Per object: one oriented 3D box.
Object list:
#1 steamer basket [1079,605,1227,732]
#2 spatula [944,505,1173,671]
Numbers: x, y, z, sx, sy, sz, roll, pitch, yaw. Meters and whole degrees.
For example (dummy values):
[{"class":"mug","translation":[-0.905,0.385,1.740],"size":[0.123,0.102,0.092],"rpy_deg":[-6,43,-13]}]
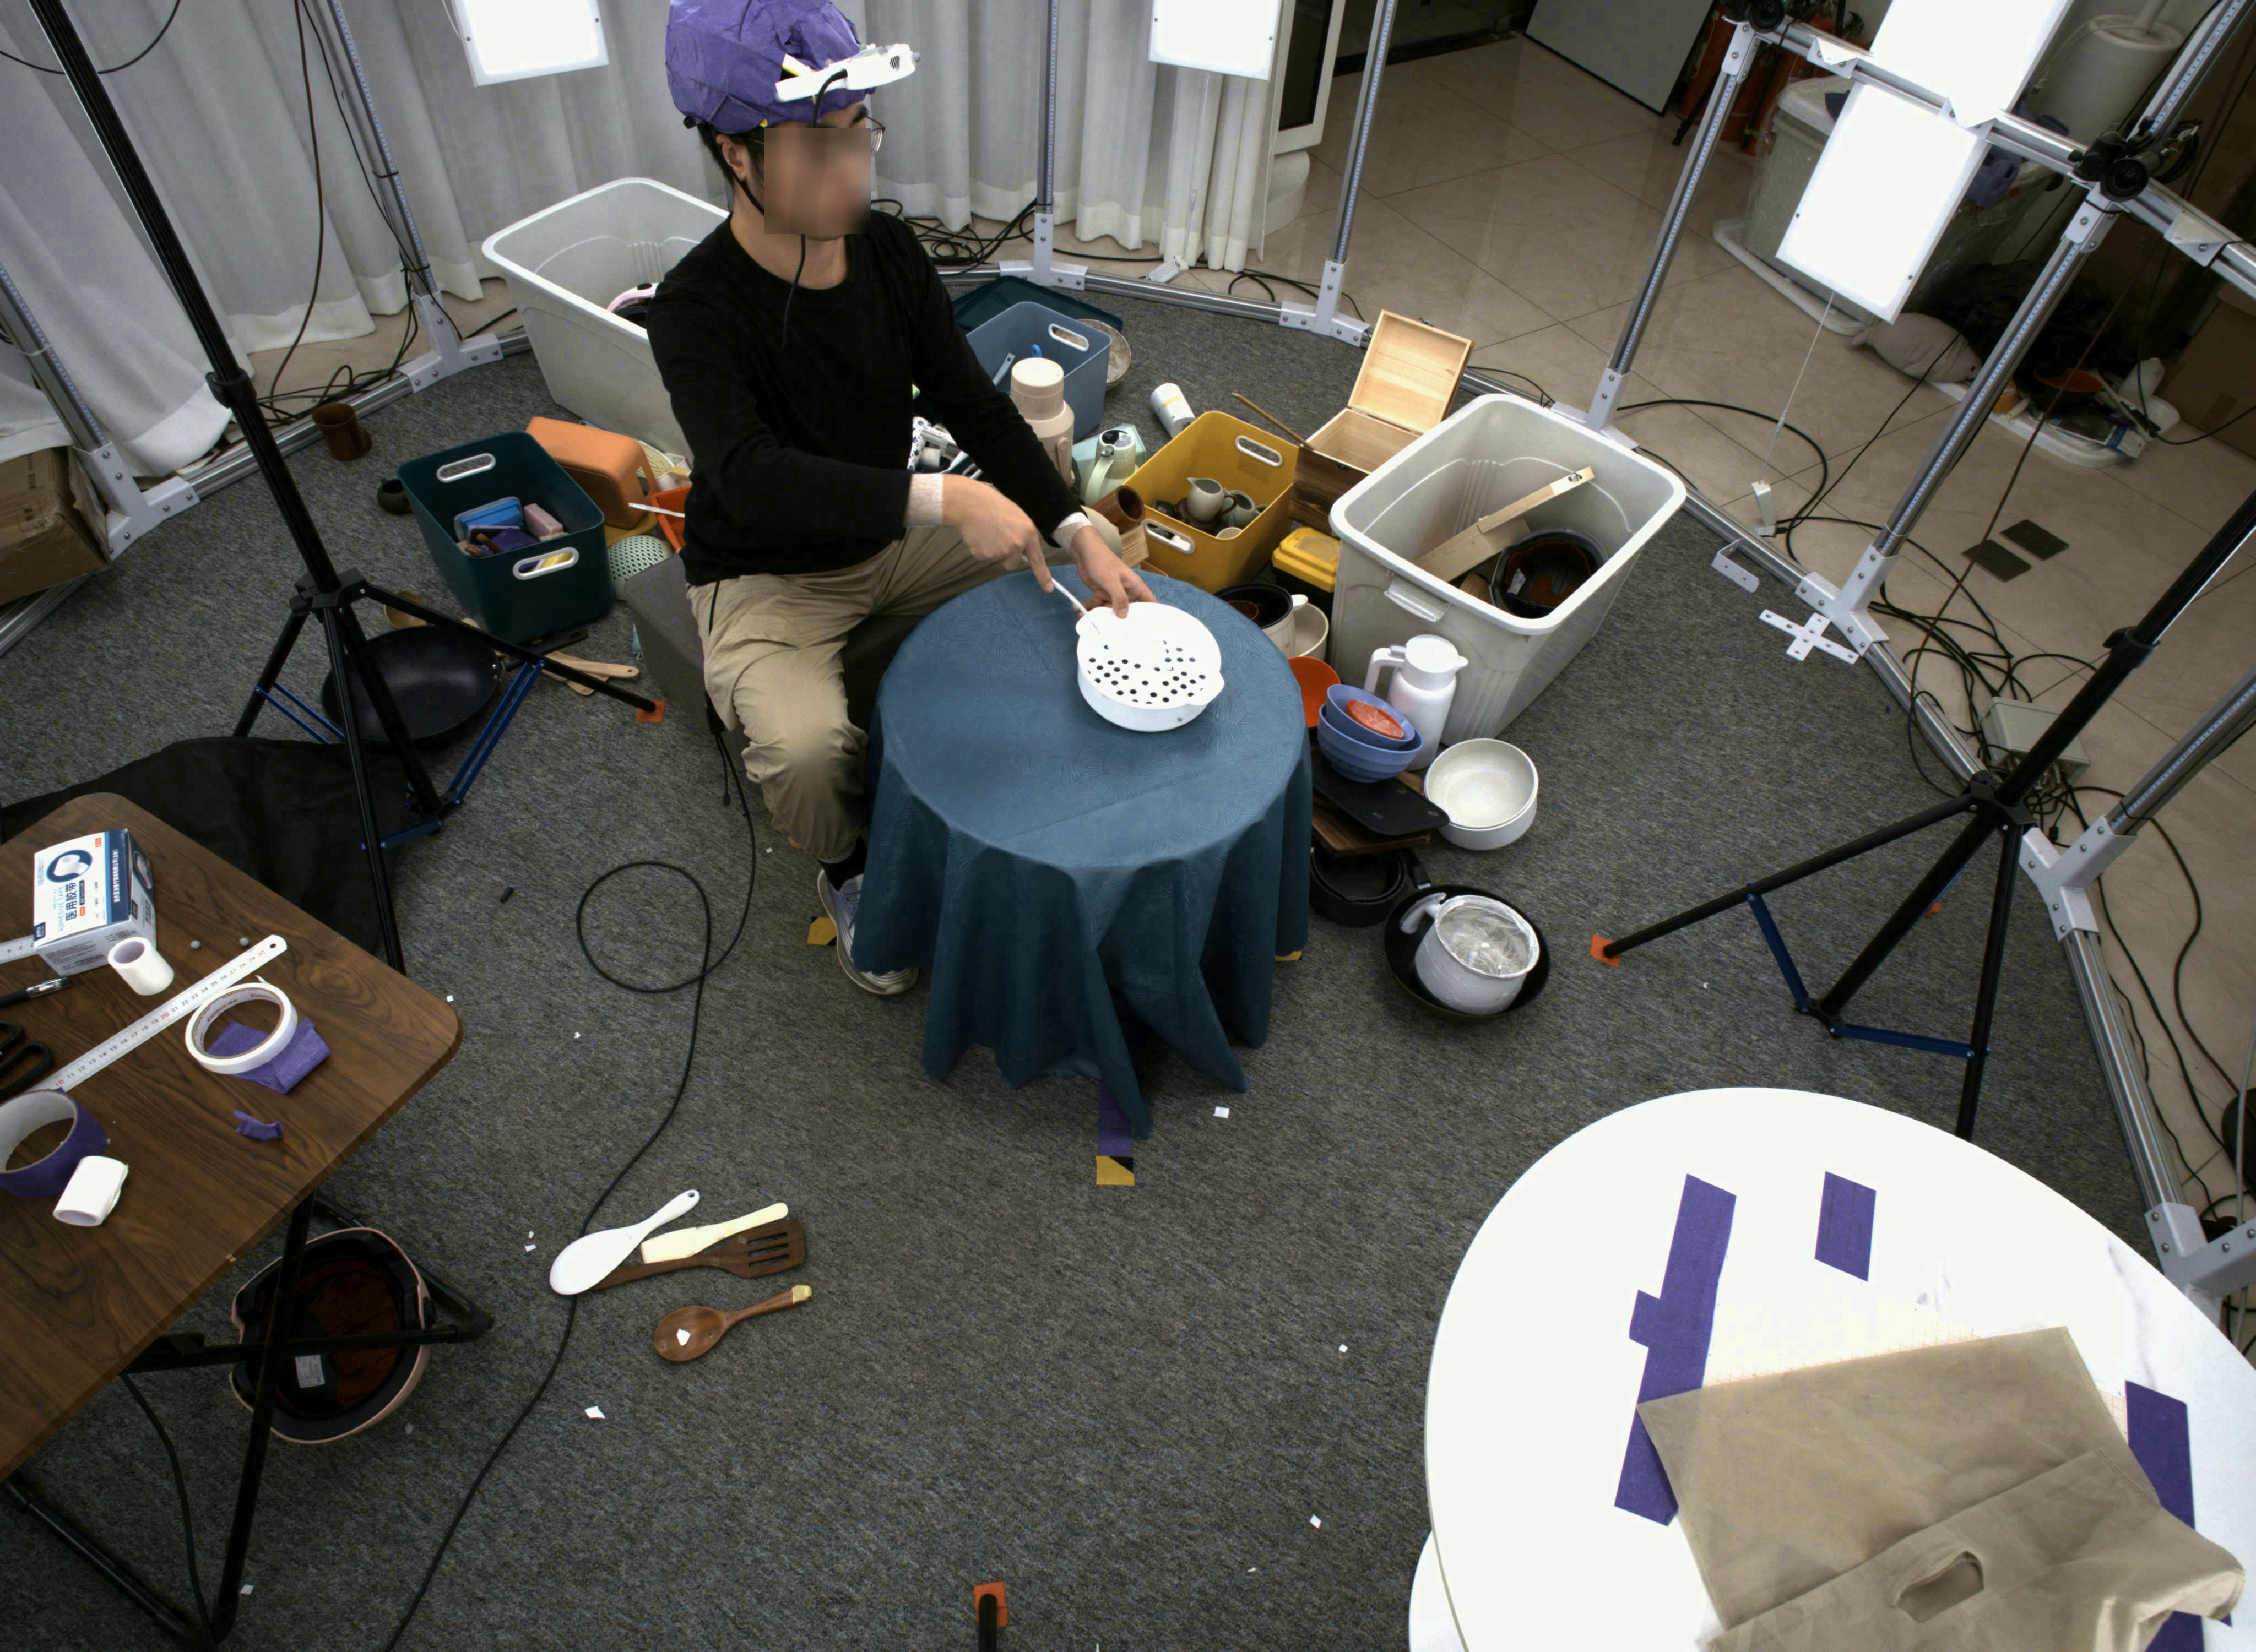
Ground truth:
[{"class":"steamer basket","translation":[0.031,-0.221,1.814],"size":[0.233,0.067,0.204],"rpy_deg":[33,56,20]},{"class":"spatula","translation":[-0.085,-0.313,1.680],"size":[0.359,0.044,0.101],"rpy_deg":[36,26,-26]}]
